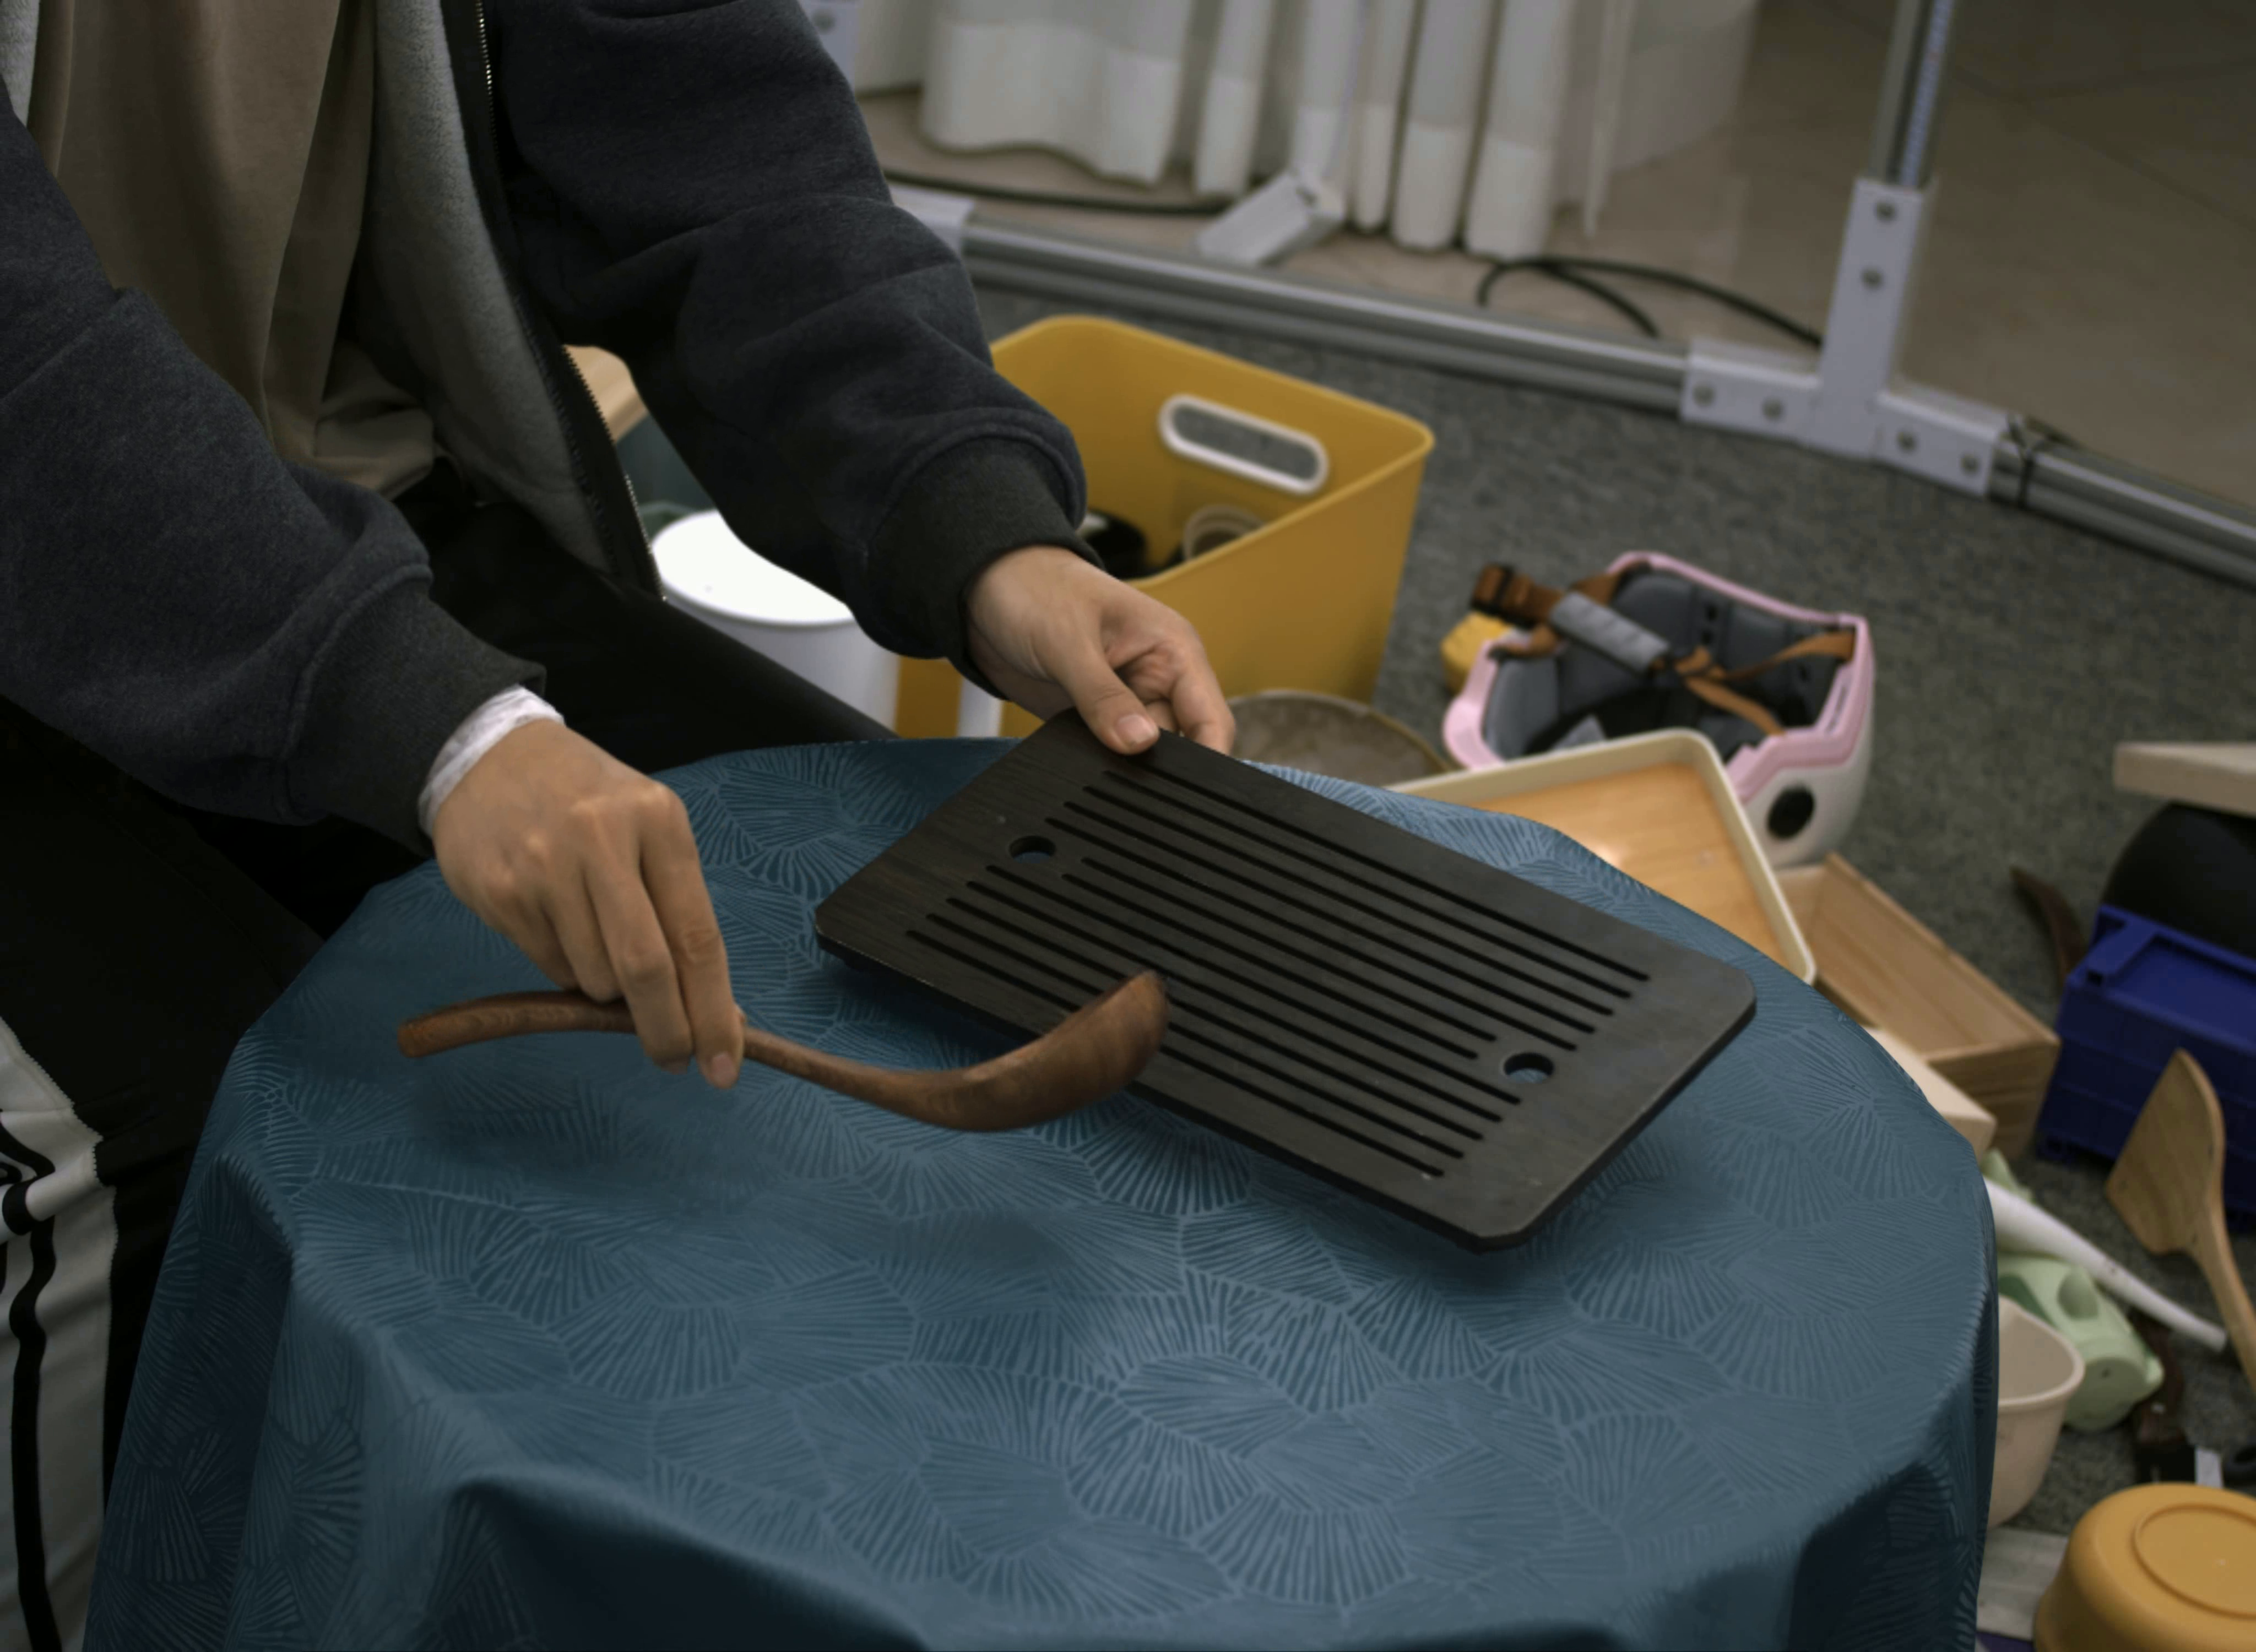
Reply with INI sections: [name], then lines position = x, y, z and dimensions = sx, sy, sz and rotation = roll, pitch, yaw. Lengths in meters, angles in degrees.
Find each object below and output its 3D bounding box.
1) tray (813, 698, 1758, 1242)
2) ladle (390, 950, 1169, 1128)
[tray]
position = 0.053, 0.048, 1.881
dimensions = 0.308, 0.018, 0.170
rotation = 23, 44, 31
[ladle]
position = -0.116, 0.059, 1.760
dimensions = 0.260, 0.065, 0.076
rotation = 7, 3, 9
